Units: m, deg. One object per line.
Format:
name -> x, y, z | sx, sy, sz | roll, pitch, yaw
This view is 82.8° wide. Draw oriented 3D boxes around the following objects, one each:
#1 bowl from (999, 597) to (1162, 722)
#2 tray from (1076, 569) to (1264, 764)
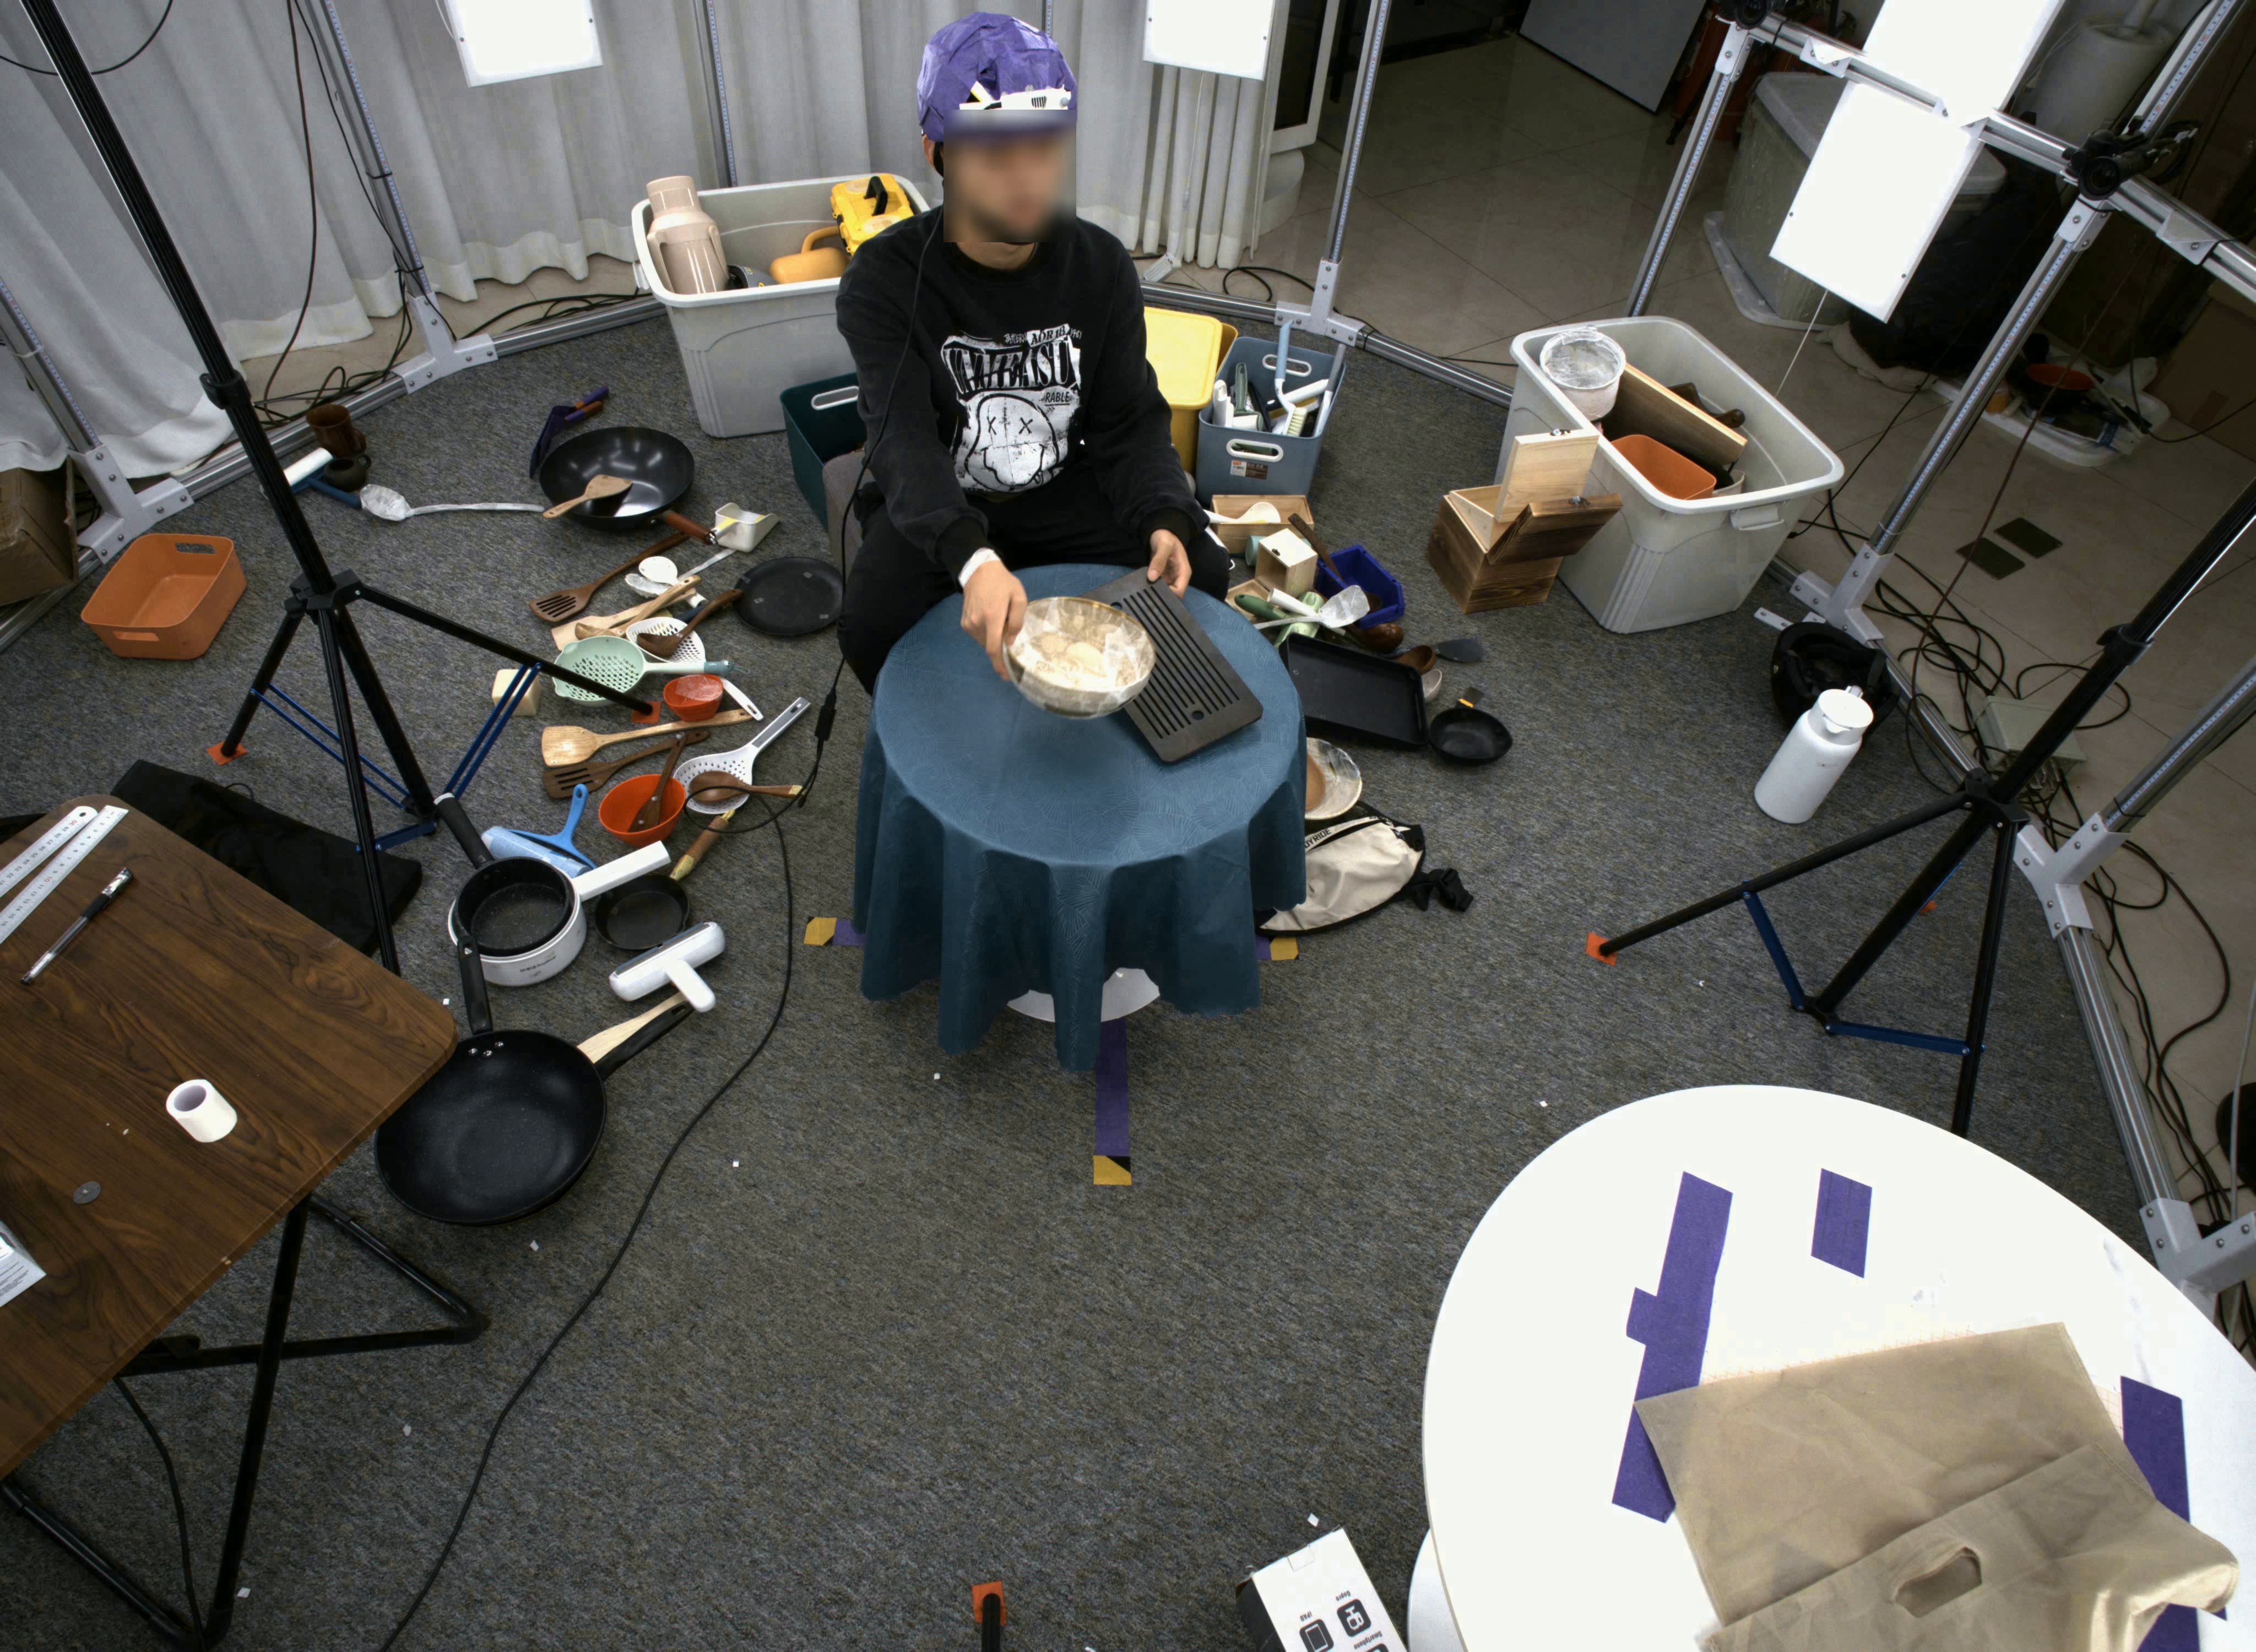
bowl -> -0.070, -0.205, 1.693 | 0.214, 0.092, 0.220 | 6, 42, -6
tray -> 0.045, -0.233, 1.840 | 0.171, 0.018, 0.311 | -27, 64, -17
